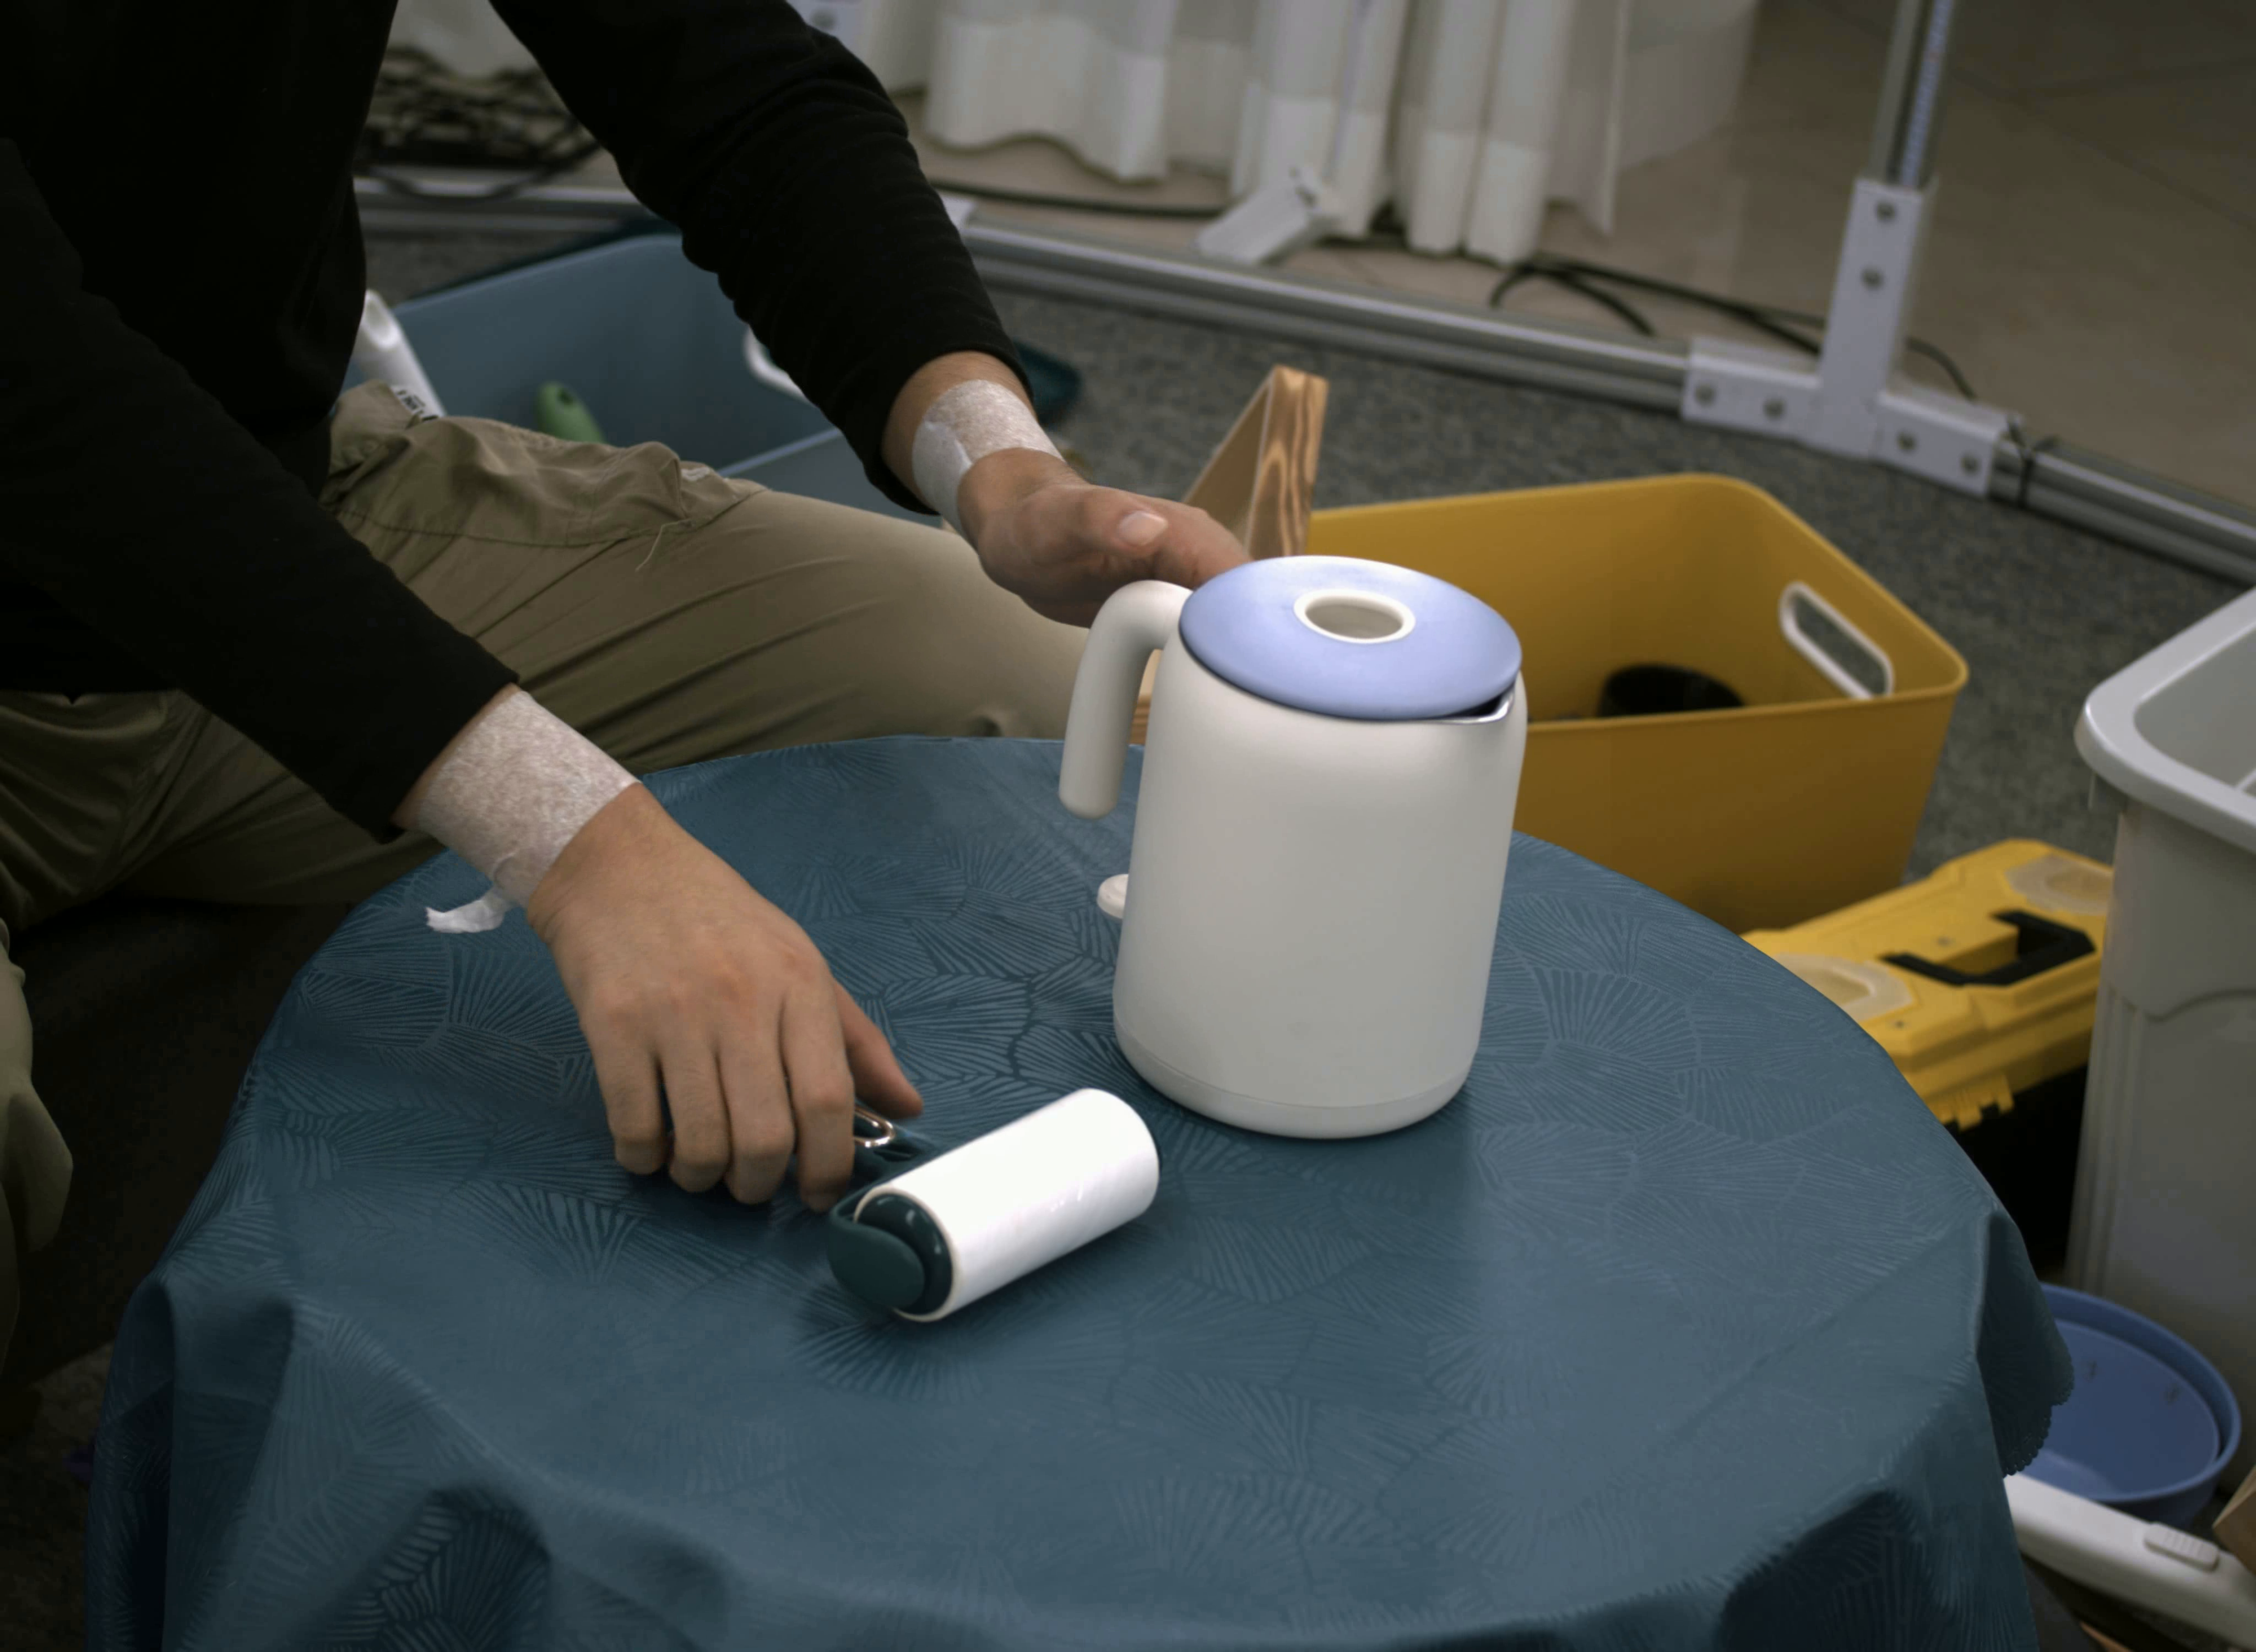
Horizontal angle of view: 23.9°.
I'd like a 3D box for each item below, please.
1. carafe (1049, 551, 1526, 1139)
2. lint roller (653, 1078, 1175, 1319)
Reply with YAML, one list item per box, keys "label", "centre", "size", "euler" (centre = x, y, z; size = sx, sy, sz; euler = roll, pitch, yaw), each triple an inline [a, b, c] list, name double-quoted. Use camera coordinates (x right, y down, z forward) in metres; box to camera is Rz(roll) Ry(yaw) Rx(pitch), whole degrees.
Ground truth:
- label: "carafe"
  centre: [0.049, -0.003, 1.872]
  size: [0.192, 0.182, 0.131]
  euler: [24, 31, 35]
- label: "lint roller"
  centre: [-0.091, 0.101, 1.780]
  size: [0.181, 0.048, 0.134]
  euler: [23, 31, 35]
